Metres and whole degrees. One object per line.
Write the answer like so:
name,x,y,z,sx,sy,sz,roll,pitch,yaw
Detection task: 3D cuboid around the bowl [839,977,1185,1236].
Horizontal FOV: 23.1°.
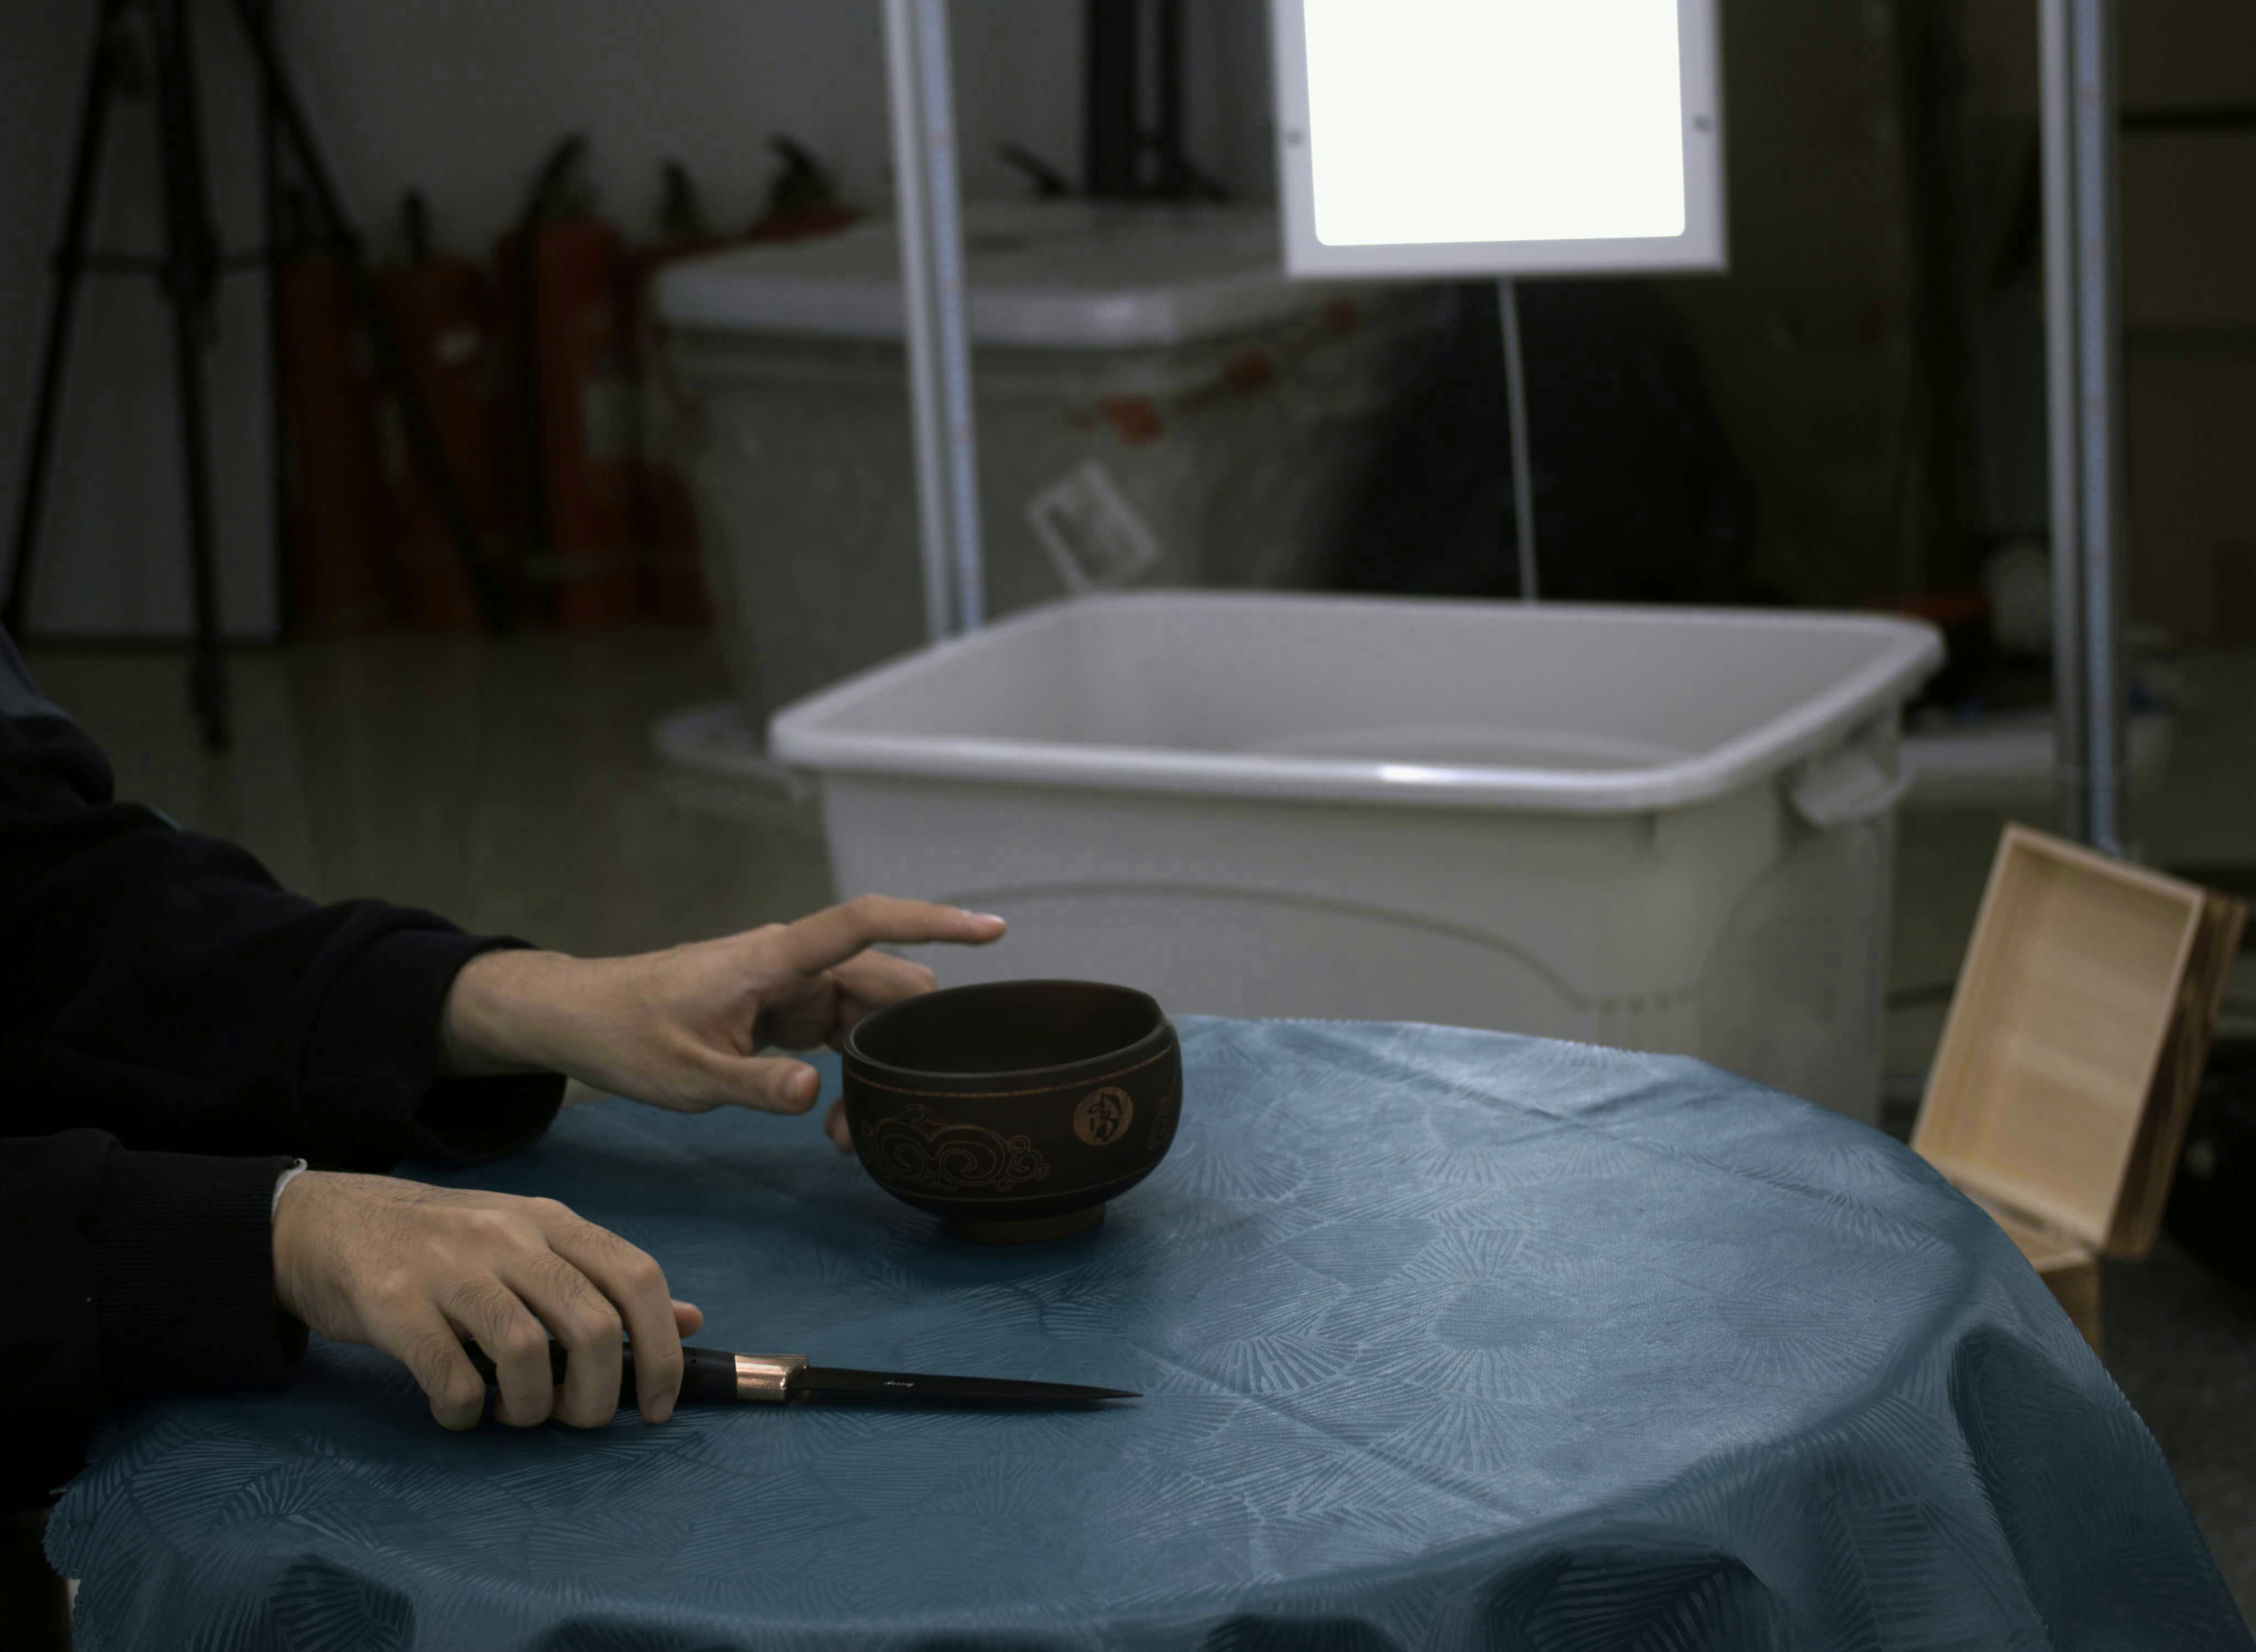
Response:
bowl,-0.038,0.098,1.868,0.118,0.070,0.118,-5,12,0

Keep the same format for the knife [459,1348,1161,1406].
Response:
knife,-0.100,0.173,1.722,0.228,0.017,0.026,0,8,16
